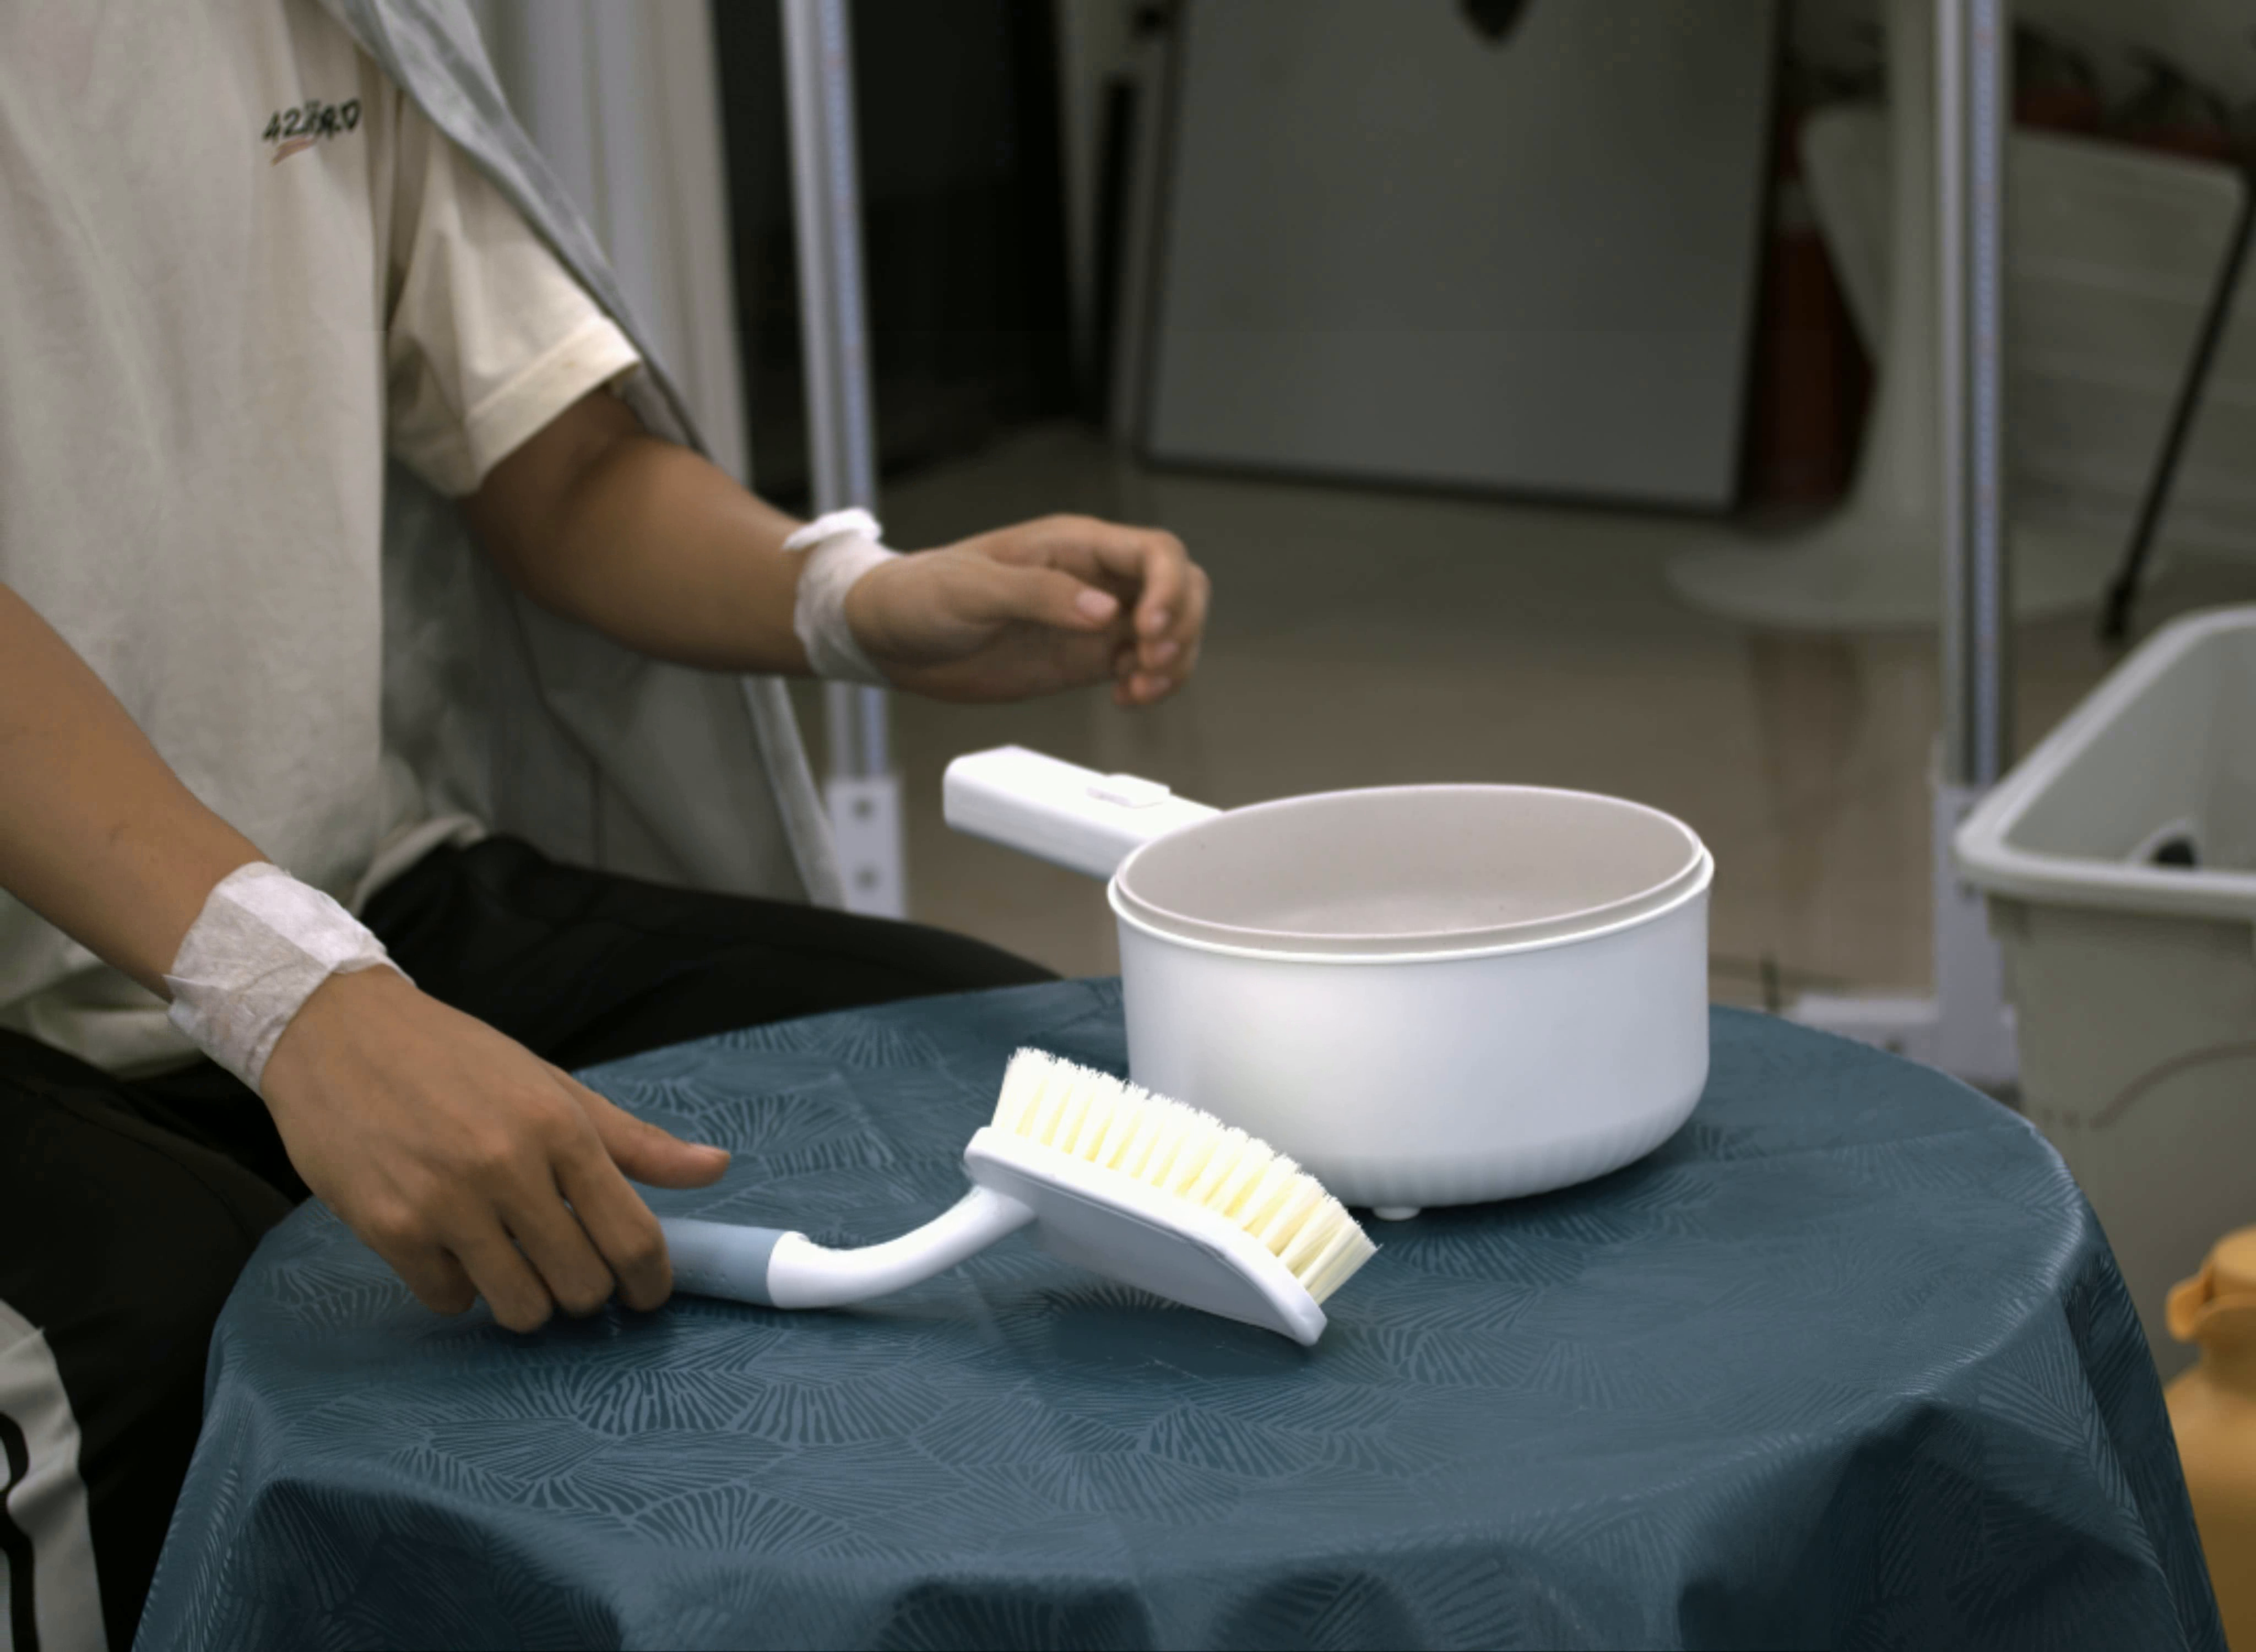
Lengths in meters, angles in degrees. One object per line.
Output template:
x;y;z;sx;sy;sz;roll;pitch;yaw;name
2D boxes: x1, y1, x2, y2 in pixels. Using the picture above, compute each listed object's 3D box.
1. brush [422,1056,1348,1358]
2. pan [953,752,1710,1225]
-0.077;0.107;1.685;0.326;0.084;0.083;5;20;29;brush
0.051;0.048;1.850;0.197;0.103;0.358;-13;16;-32;pan
